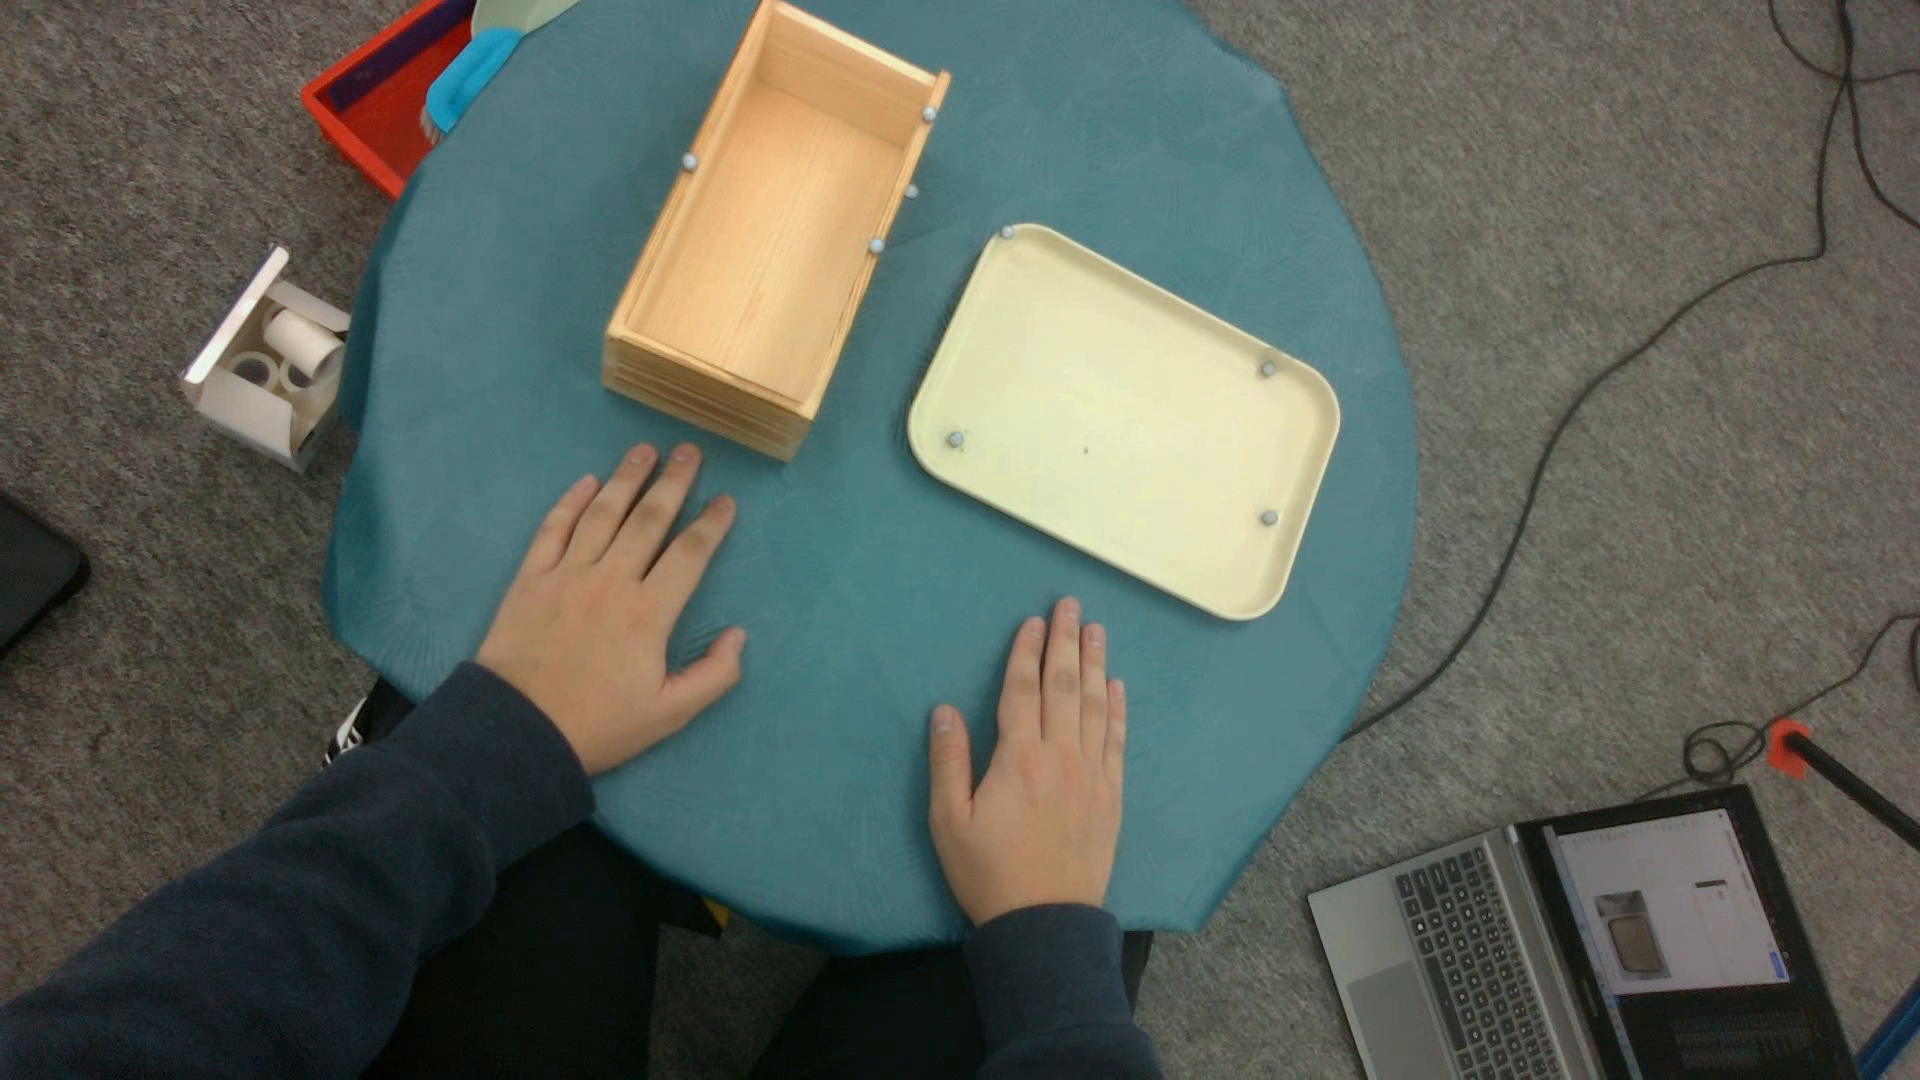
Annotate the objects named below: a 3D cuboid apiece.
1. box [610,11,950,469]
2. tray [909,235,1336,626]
[{"bbox_3d":[-0.096,-0.160,0.741,0.107,0.080,0.212,22,72,-9],"label":"box"},{"bbox_3d":[0.098,-0.064,0.805,0.240,0.017,0.172,26,72,-8],"label":"tray"}]
